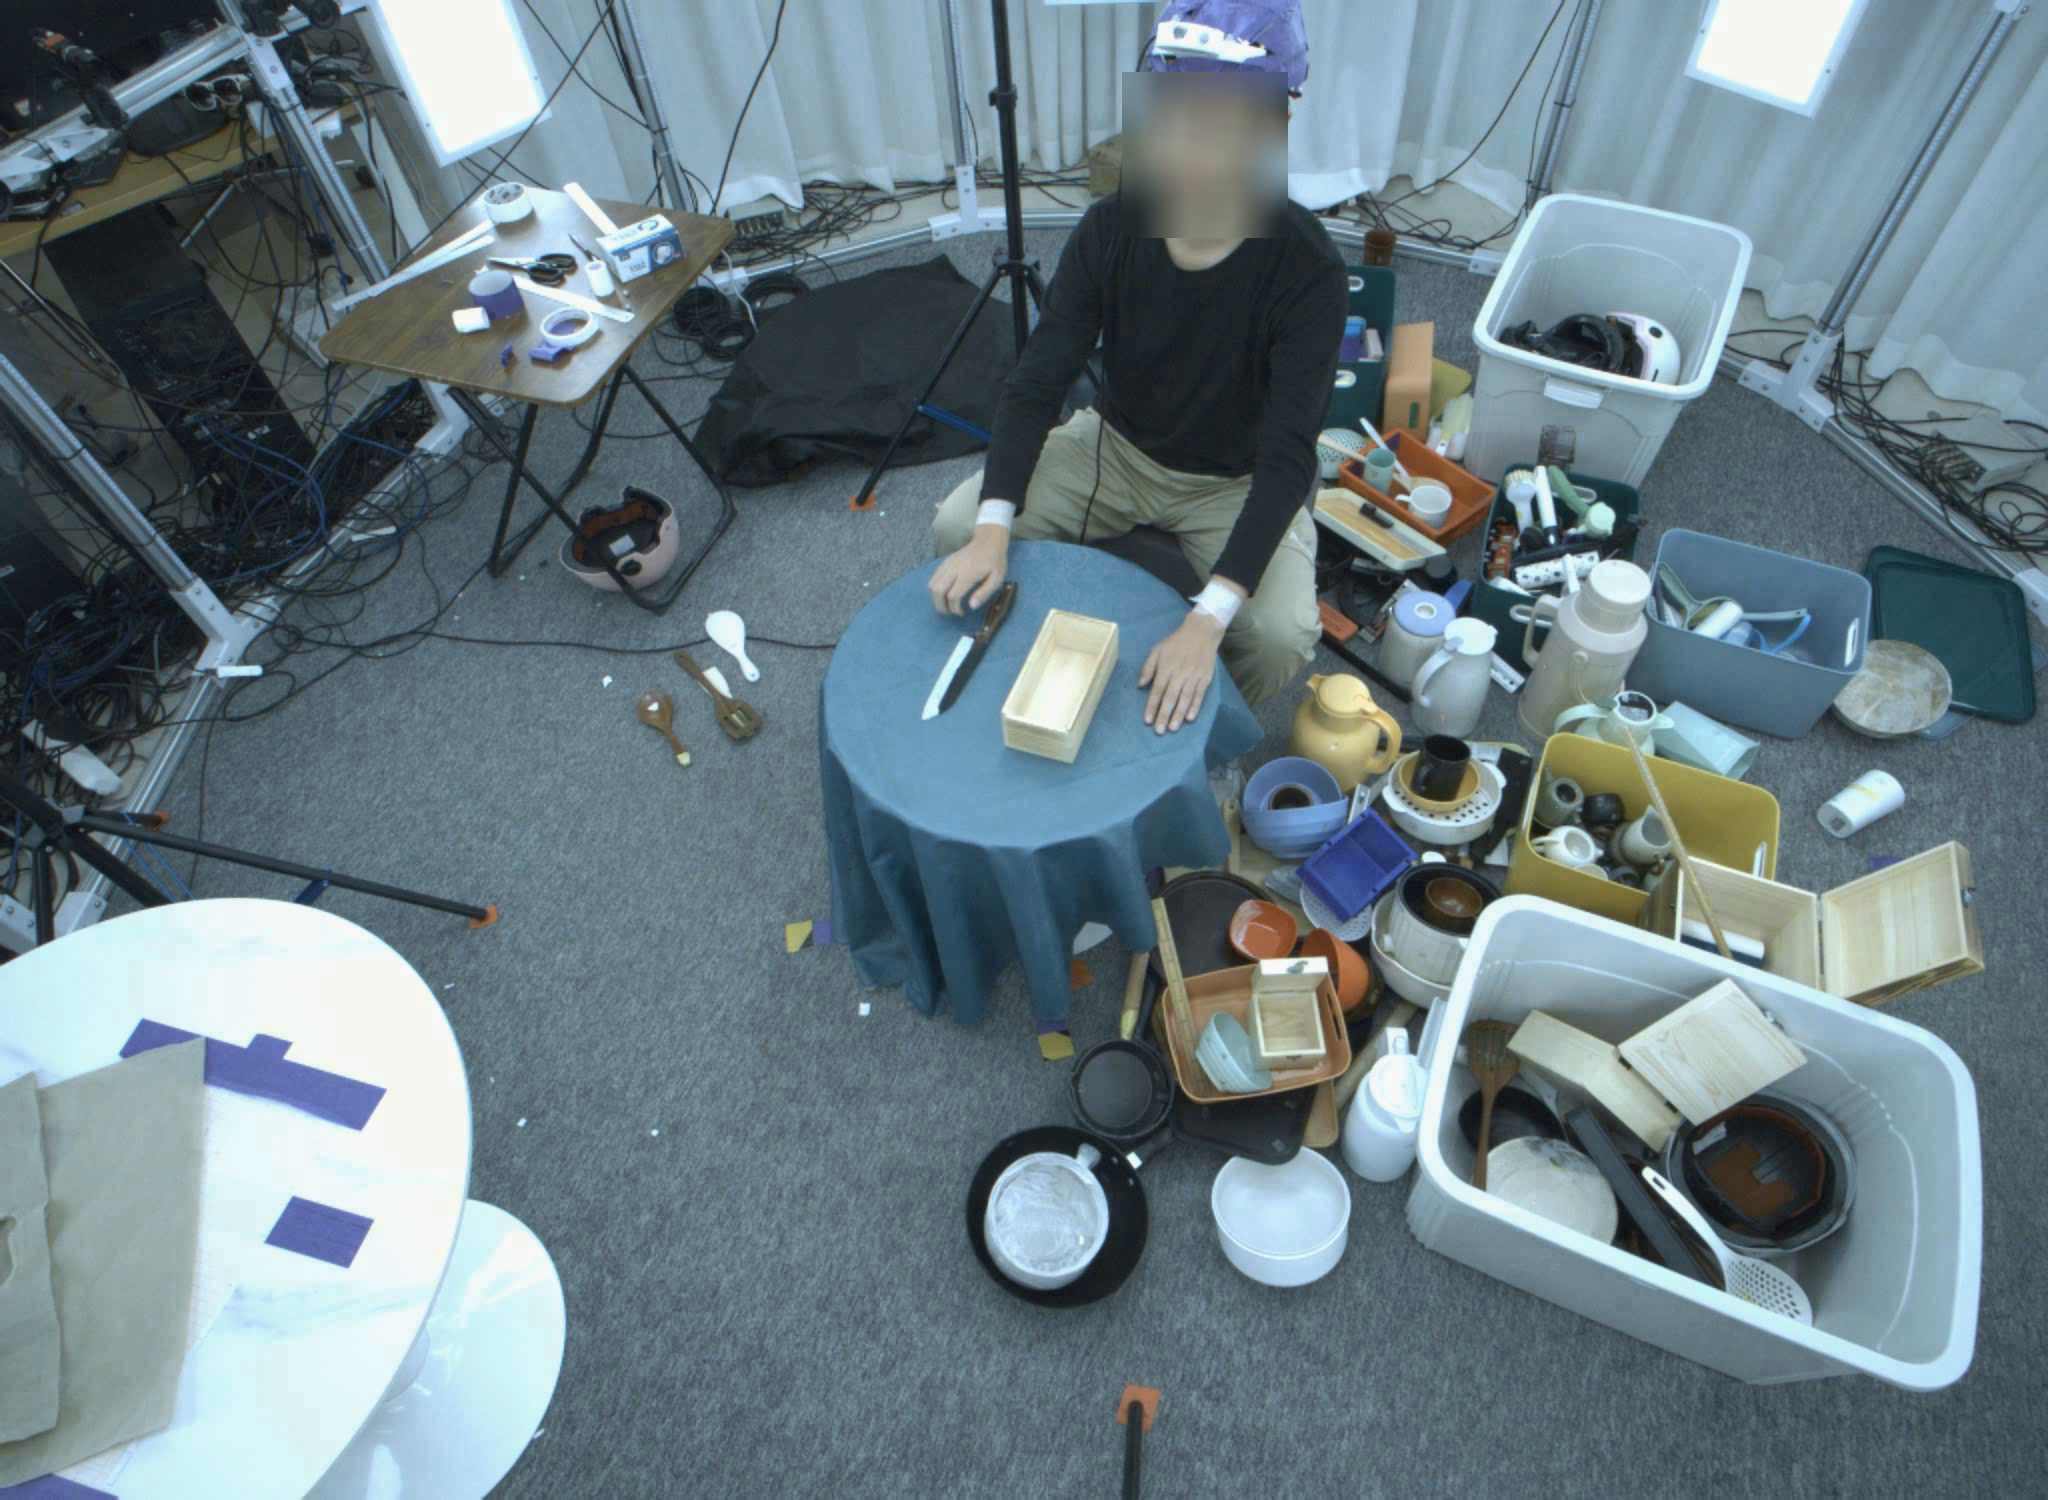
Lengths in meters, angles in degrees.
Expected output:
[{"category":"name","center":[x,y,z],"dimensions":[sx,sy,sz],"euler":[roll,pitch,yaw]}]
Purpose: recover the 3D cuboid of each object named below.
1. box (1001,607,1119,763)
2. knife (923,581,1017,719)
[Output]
[{"category":"box","center":[0.056,-0.098,1.806],"dimensions":[0.106,0.081,0.211],"euler":[16,58,13]},{"category":"knife","center":[-0.082,-0.155,1.892],"dimensions":[0.049,0.020,0.289],"euler":[19,60,21]}]
